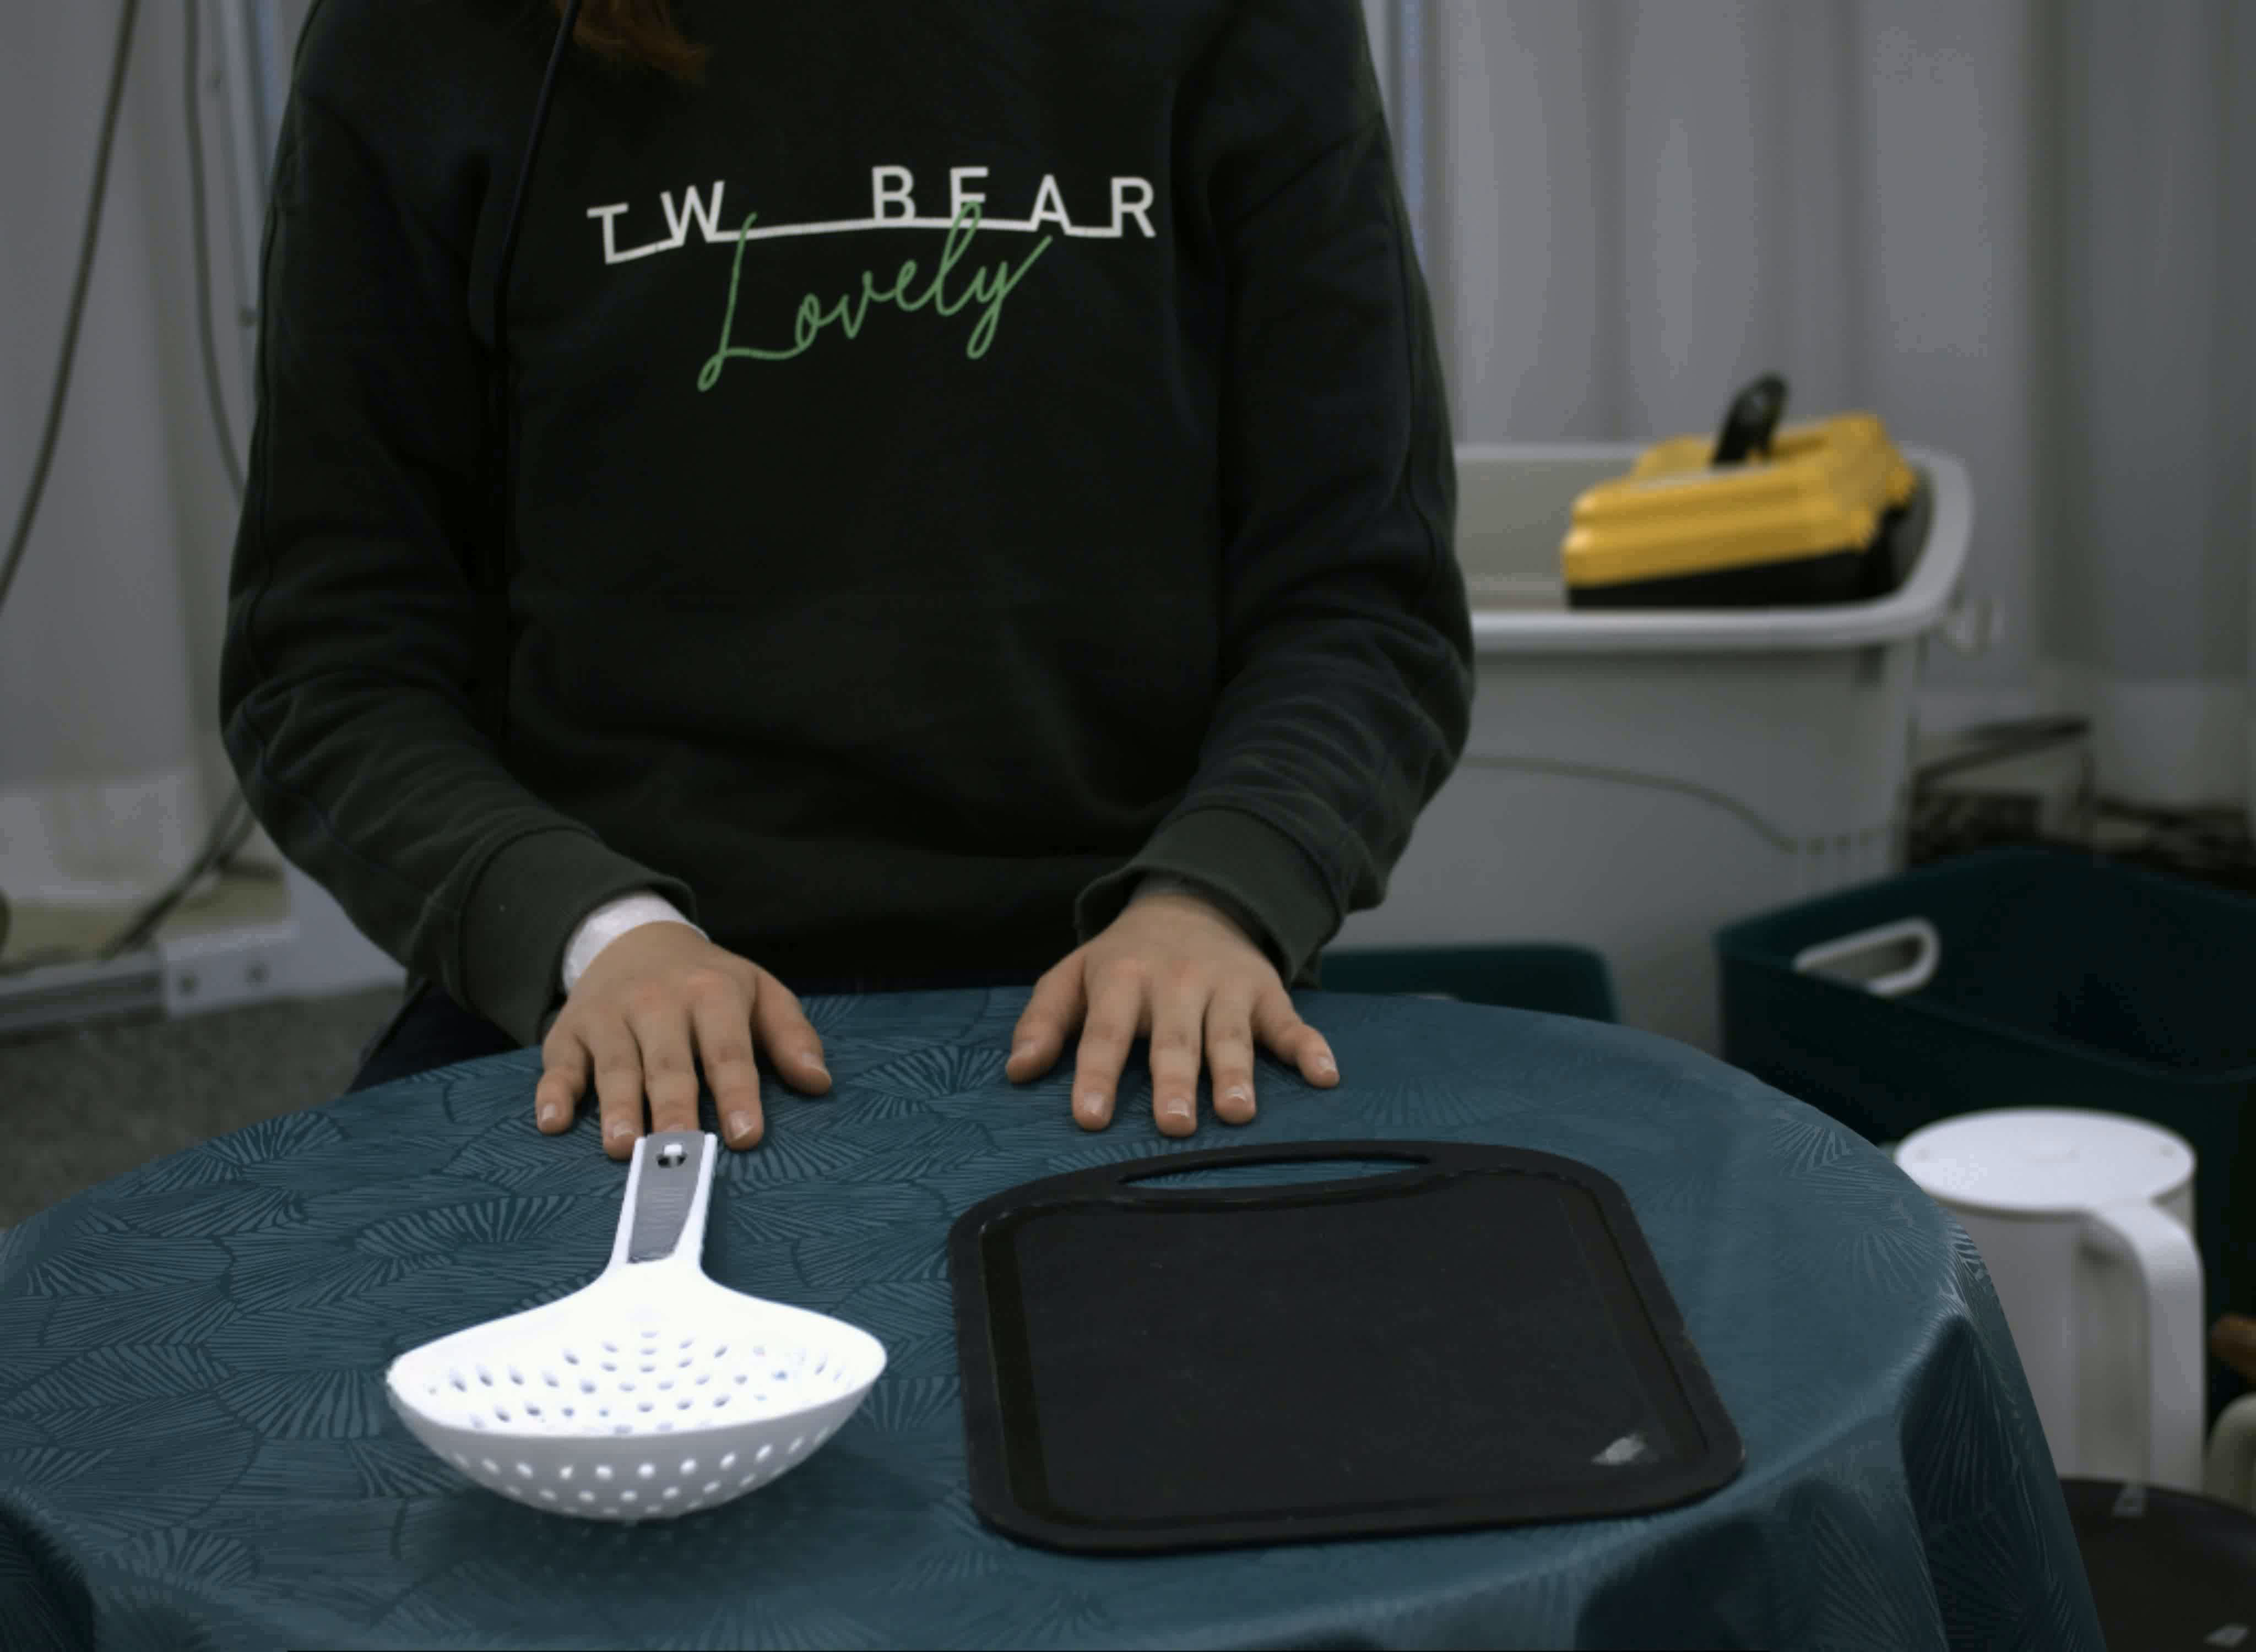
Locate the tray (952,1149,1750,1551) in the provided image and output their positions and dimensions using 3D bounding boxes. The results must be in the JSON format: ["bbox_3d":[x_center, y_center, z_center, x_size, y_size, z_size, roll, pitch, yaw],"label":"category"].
[{"bbox_3d":[0.056,0.144,1.582,0.210,0.010,0.327,-3,15,-3],"label":"tray"}]

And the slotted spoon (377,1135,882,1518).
[{"bbox_3d":[-0.137,0.135,1.577,0.135,0.045,0.352,-1,14,-2],"label":"slotted spoon"}]
